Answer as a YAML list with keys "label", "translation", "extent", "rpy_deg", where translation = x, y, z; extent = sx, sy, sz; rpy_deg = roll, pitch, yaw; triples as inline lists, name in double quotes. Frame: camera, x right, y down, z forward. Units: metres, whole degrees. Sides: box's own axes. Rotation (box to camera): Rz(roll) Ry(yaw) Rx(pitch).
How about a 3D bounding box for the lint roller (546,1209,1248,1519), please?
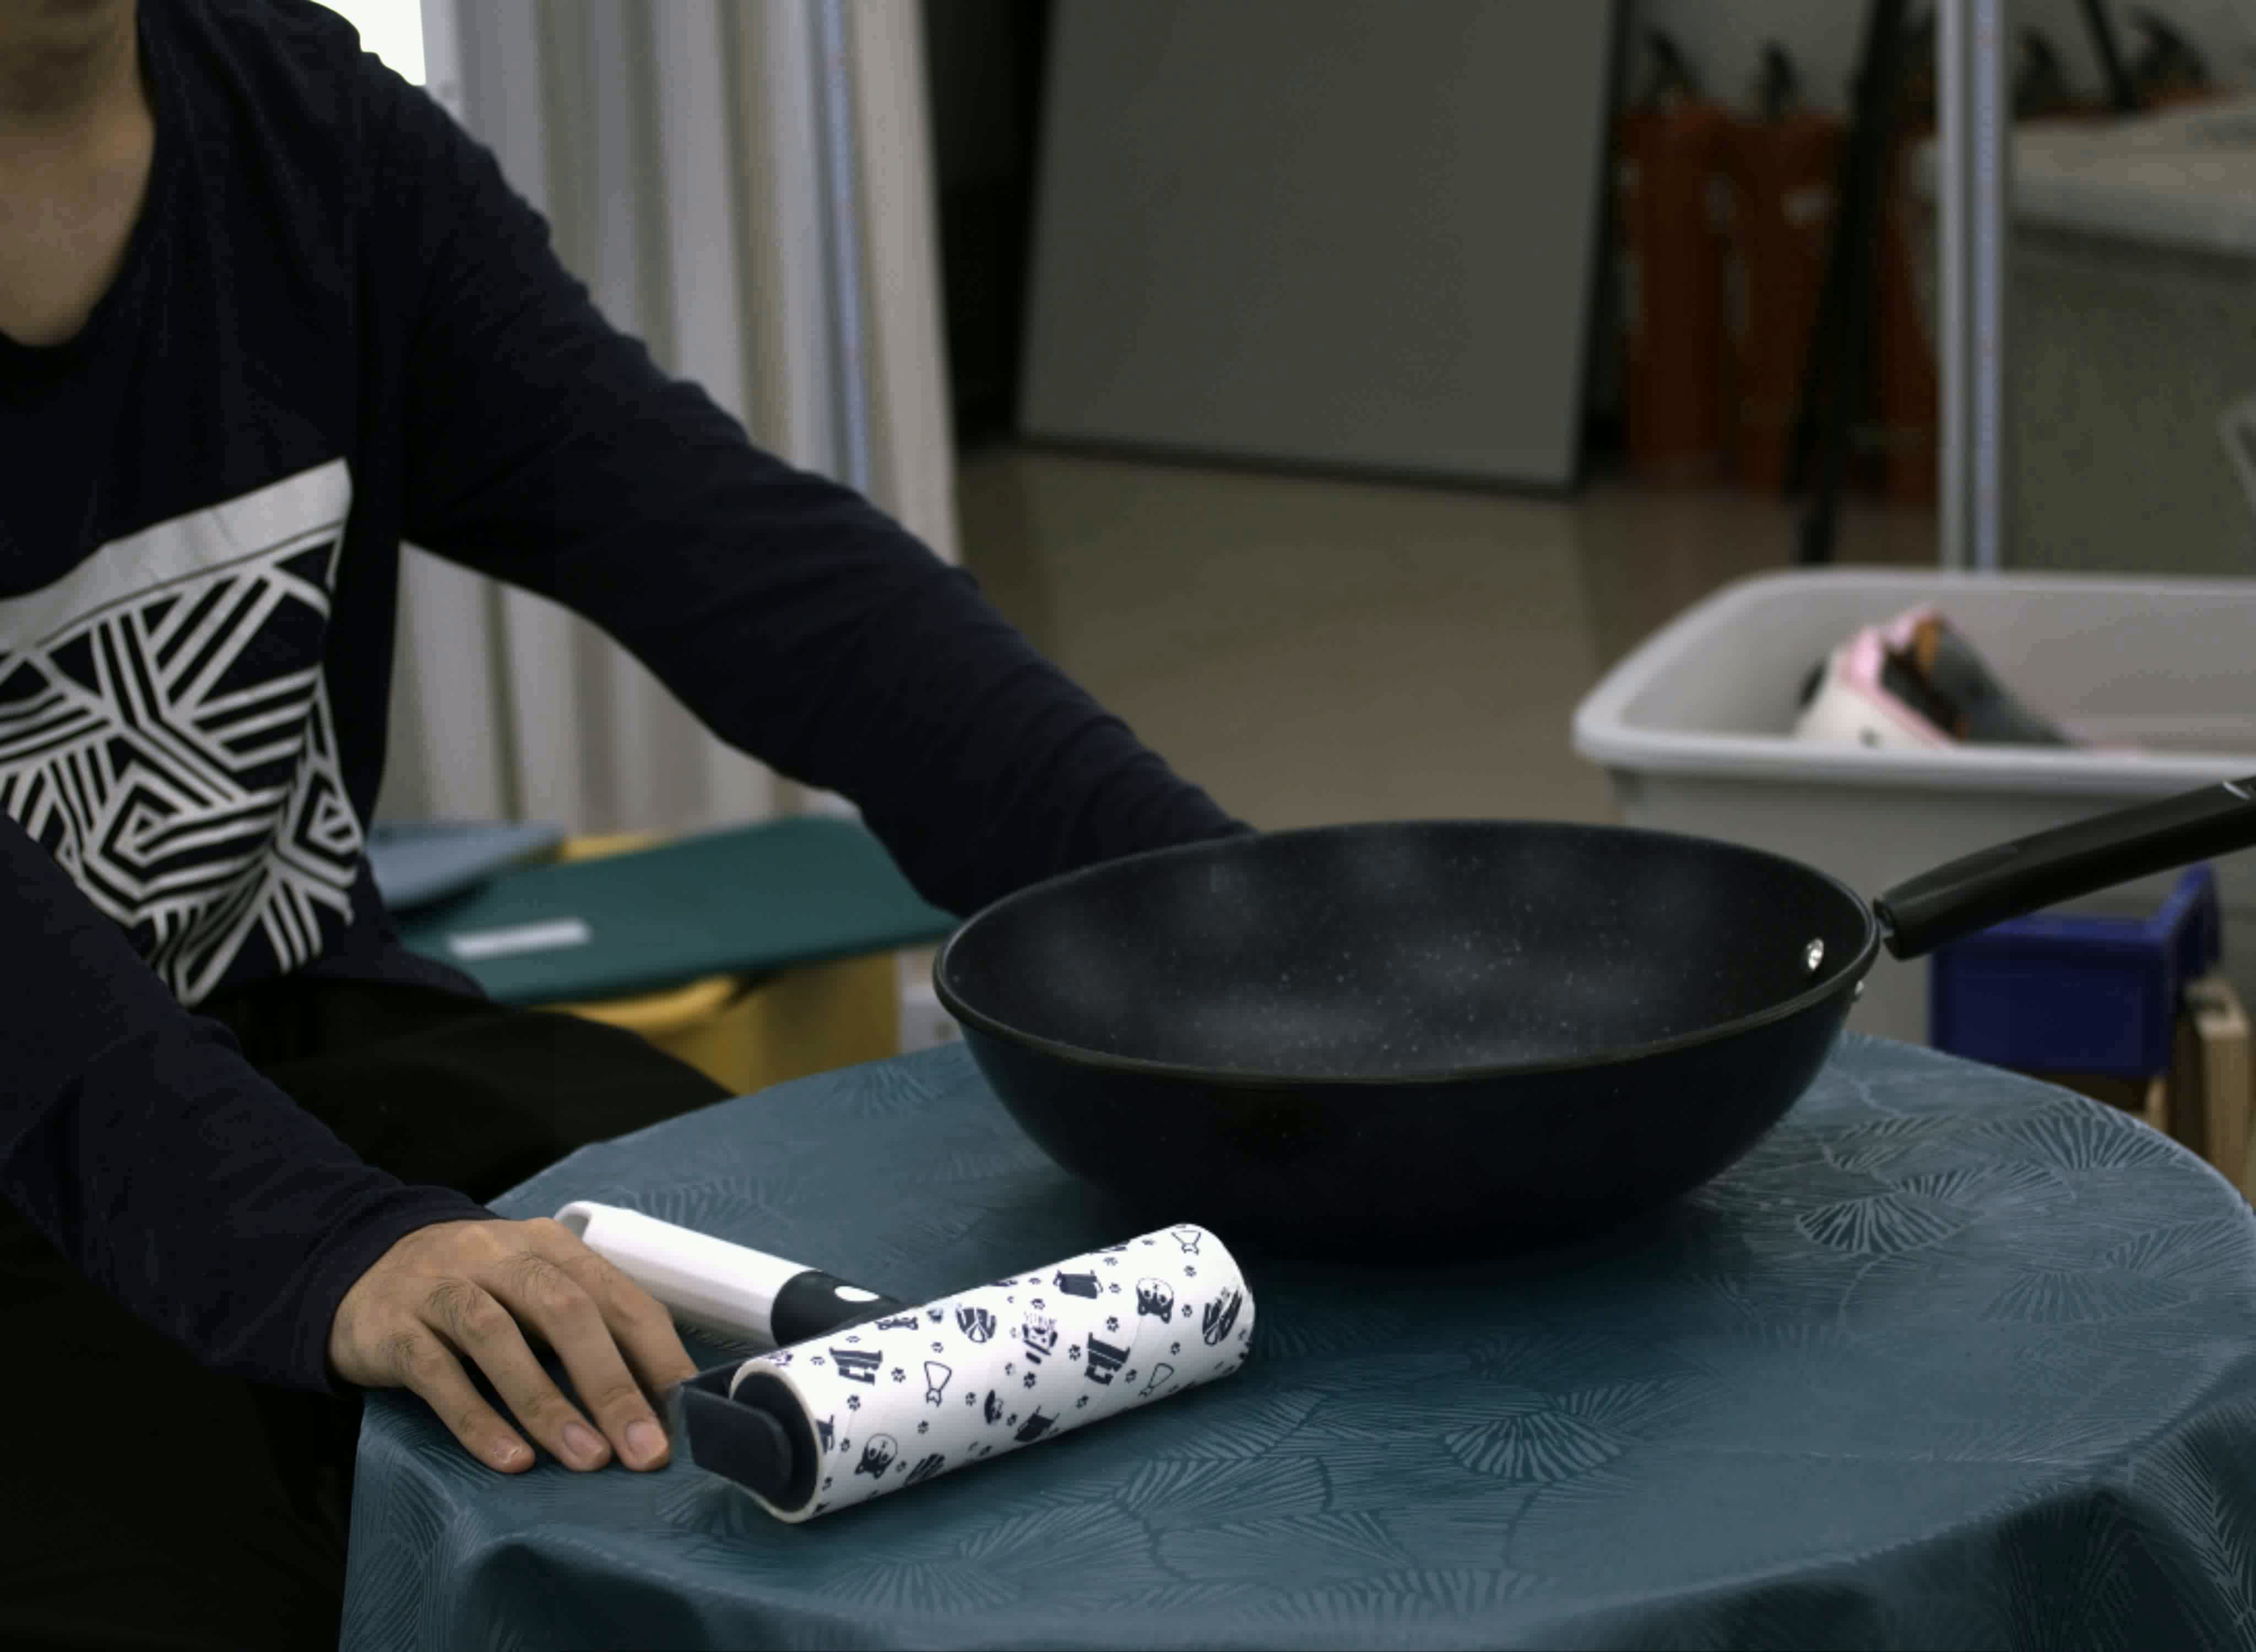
- label: "lint roller"
  translation: [-0.104, 0.145, 1.622]
  extent: [0.172, 0.051, 0.249]
  rpy_deg: [-16, 15, -37]

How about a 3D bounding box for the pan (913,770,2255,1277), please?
- label: "pan"
  translation: [0.166, 0.058, 1.755]
  extent: [0.469, 0.113, 0.312]
  rpy_deg: [-6, 15, -6]
